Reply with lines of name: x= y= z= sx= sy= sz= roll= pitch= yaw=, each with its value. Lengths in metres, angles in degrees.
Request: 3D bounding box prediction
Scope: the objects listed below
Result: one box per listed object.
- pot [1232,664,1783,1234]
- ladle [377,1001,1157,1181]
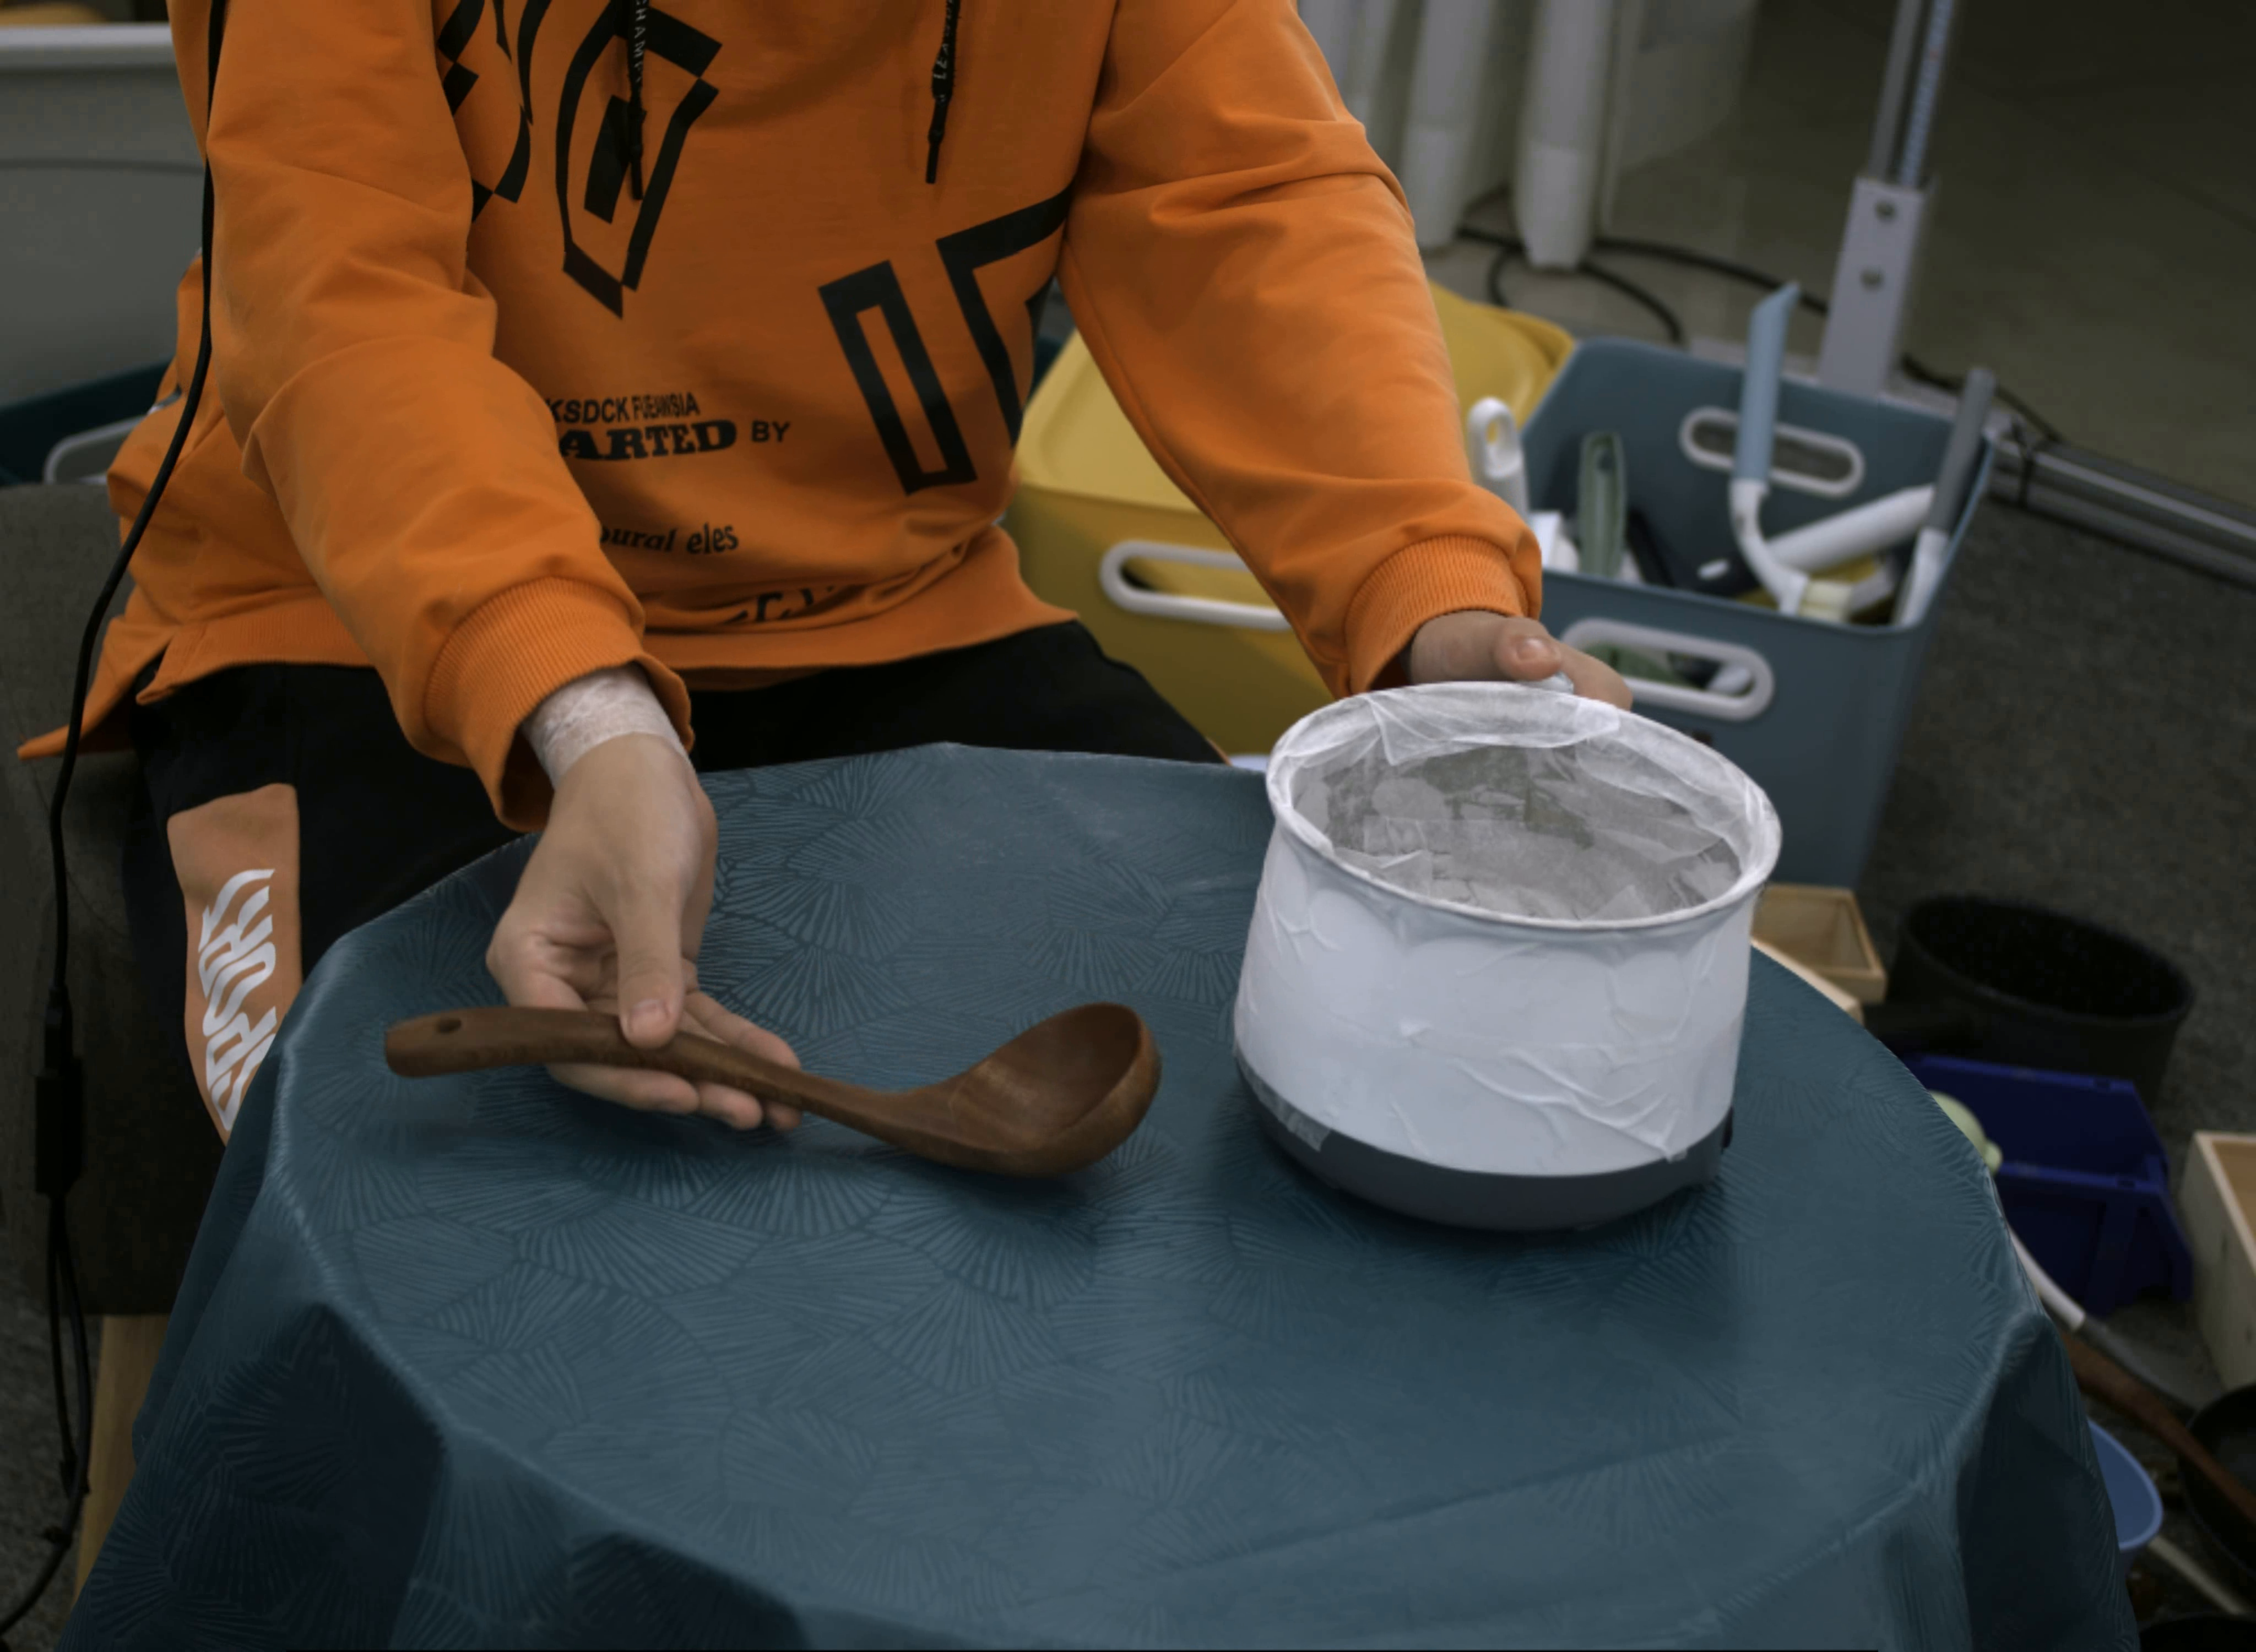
pot: x=0.130 y=0.035 z=1.856 sx=0.178 sy=0.136 sz=0.235 roll=9 pitch=27 yaw=3
ladle: x=-0.119 y=0.073 z=1.786 sx=0.259 sy=0.065 sz=0.077 roll=11 pitch=22 yaw=-7
